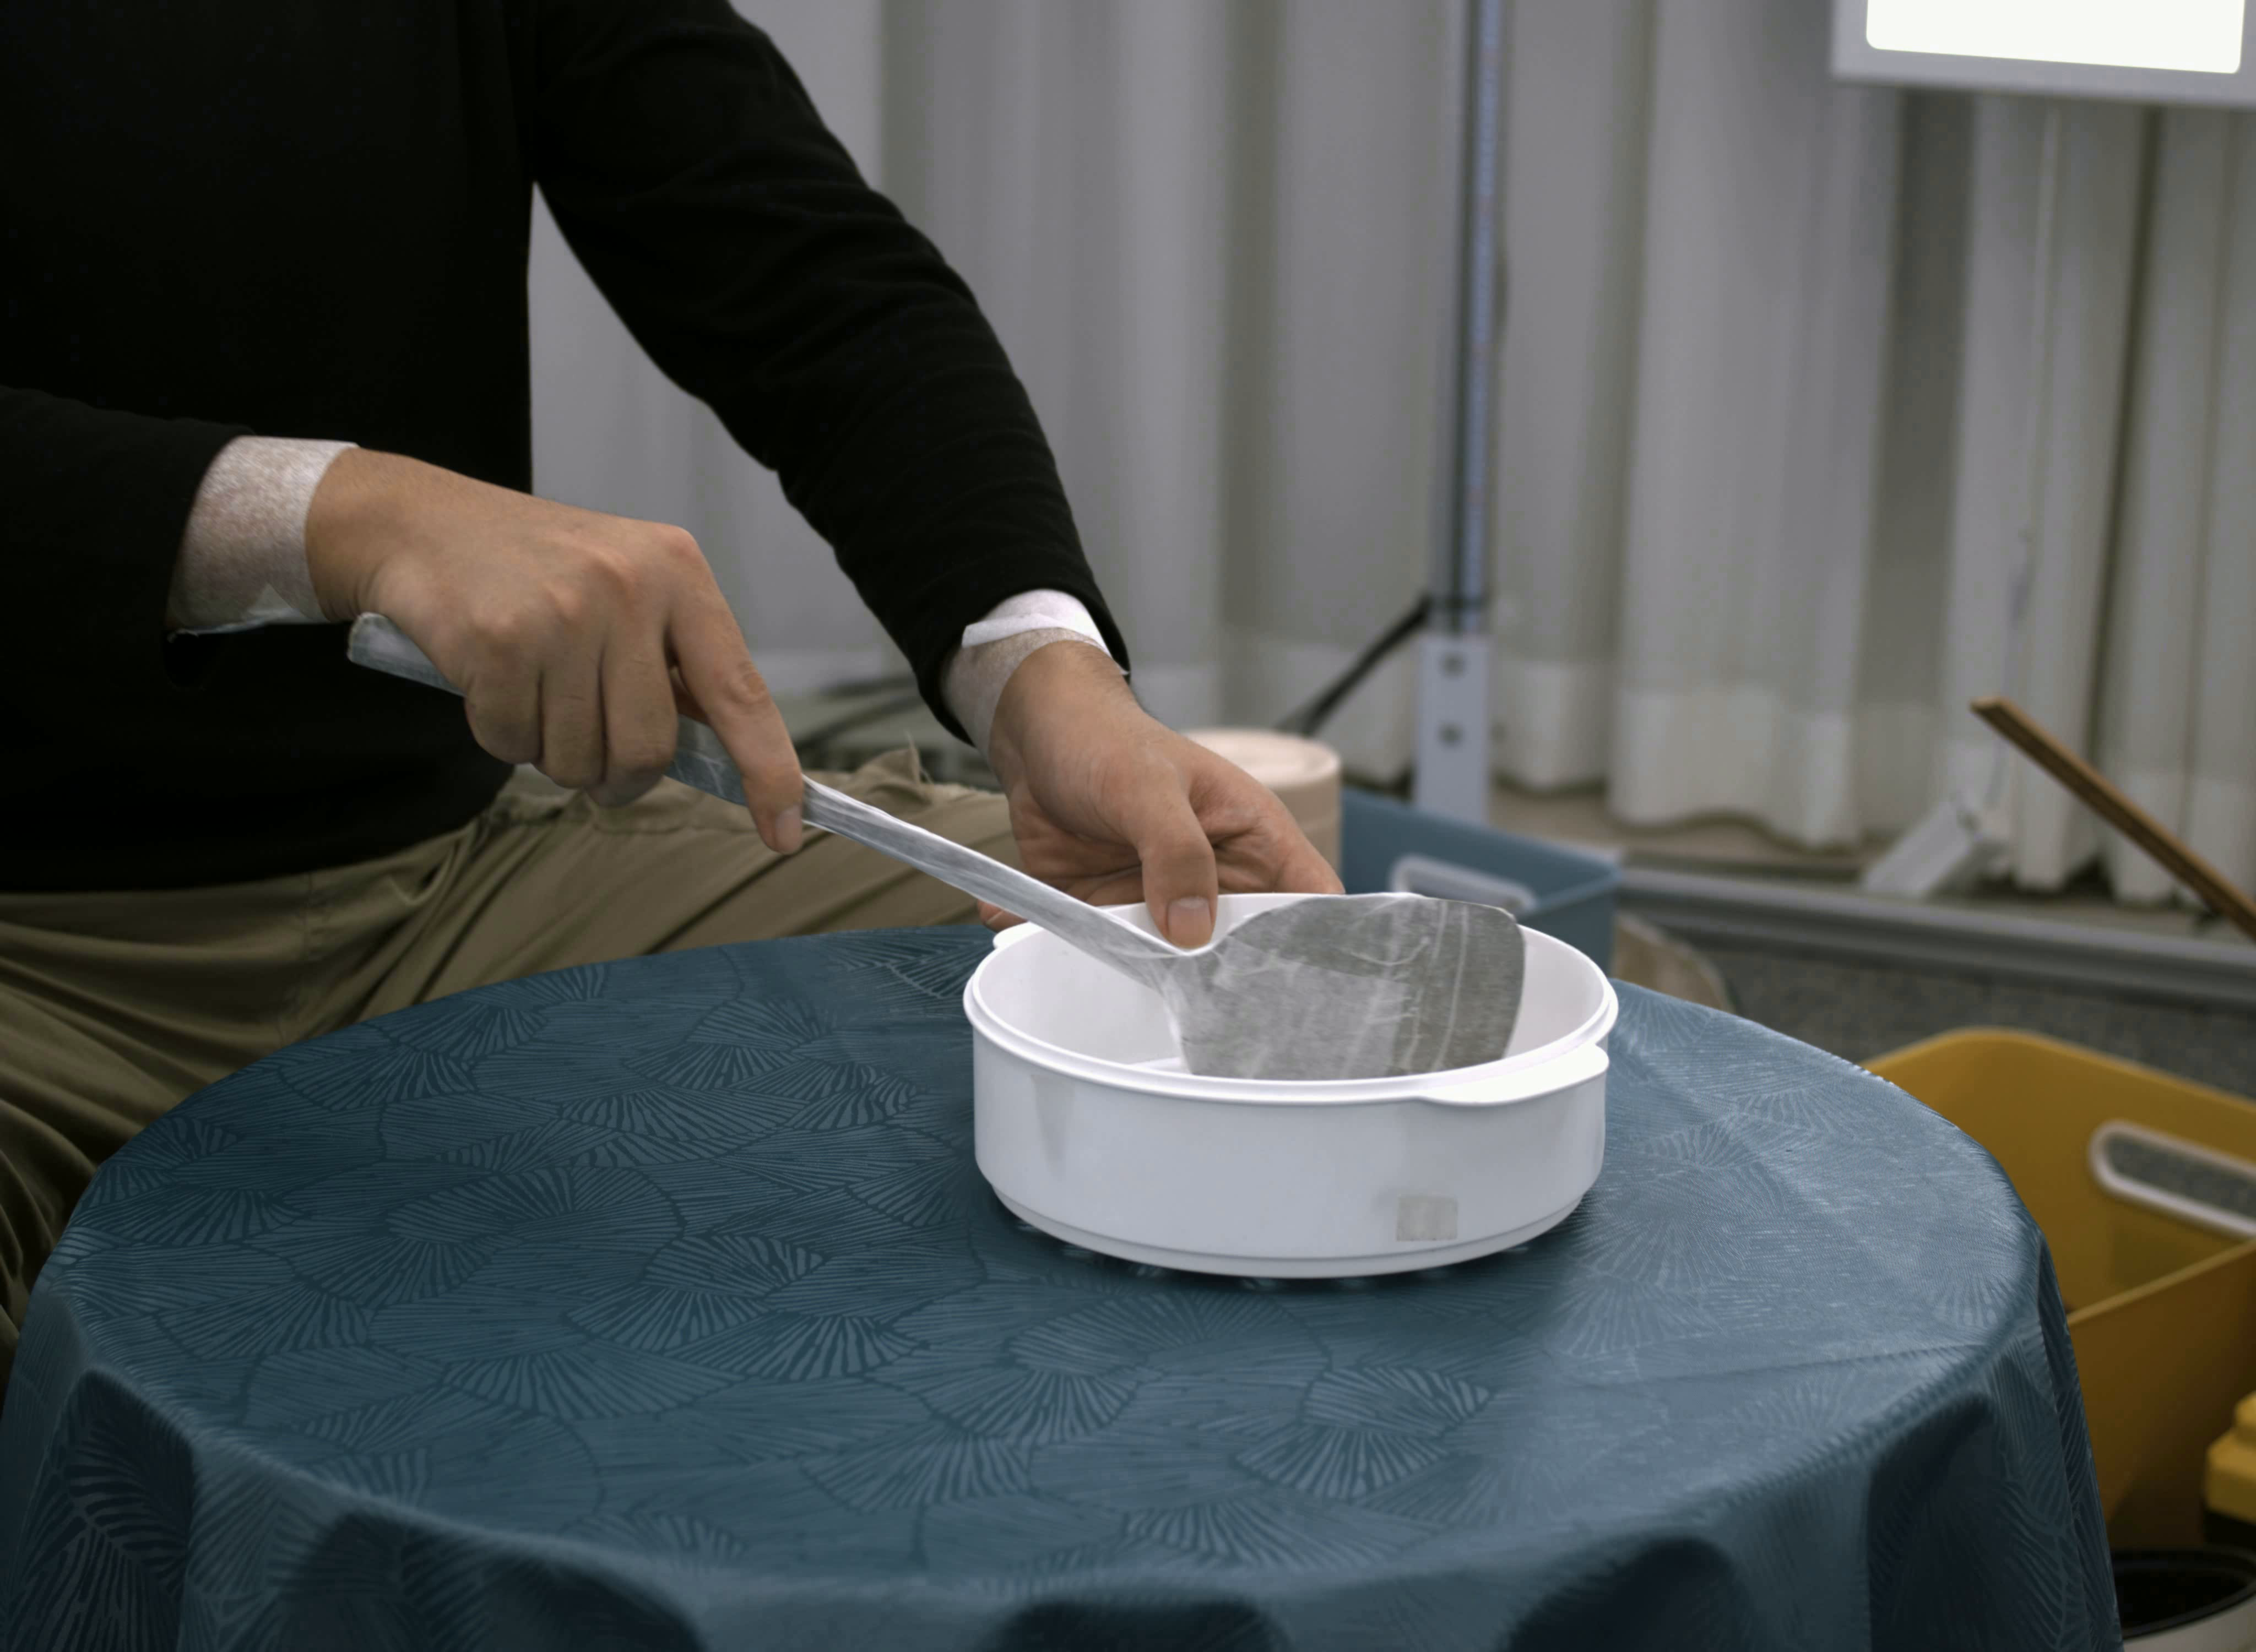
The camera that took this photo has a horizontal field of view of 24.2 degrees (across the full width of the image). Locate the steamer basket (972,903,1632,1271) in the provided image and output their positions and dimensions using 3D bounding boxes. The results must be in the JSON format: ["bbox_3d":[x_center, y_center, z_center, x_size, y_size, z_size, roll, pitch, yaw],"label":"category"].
[{"bbox_3d":[0.053,0.079,1.610,0.203,0.070,0.227,-11,18,-40],"label":"steamer basket"}]

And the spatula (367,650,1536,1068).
[{"bbox_3d":[-0.054,0.010,1.590,0.363,0.099,0.044,23,31,3],"label":"spatula"}]
